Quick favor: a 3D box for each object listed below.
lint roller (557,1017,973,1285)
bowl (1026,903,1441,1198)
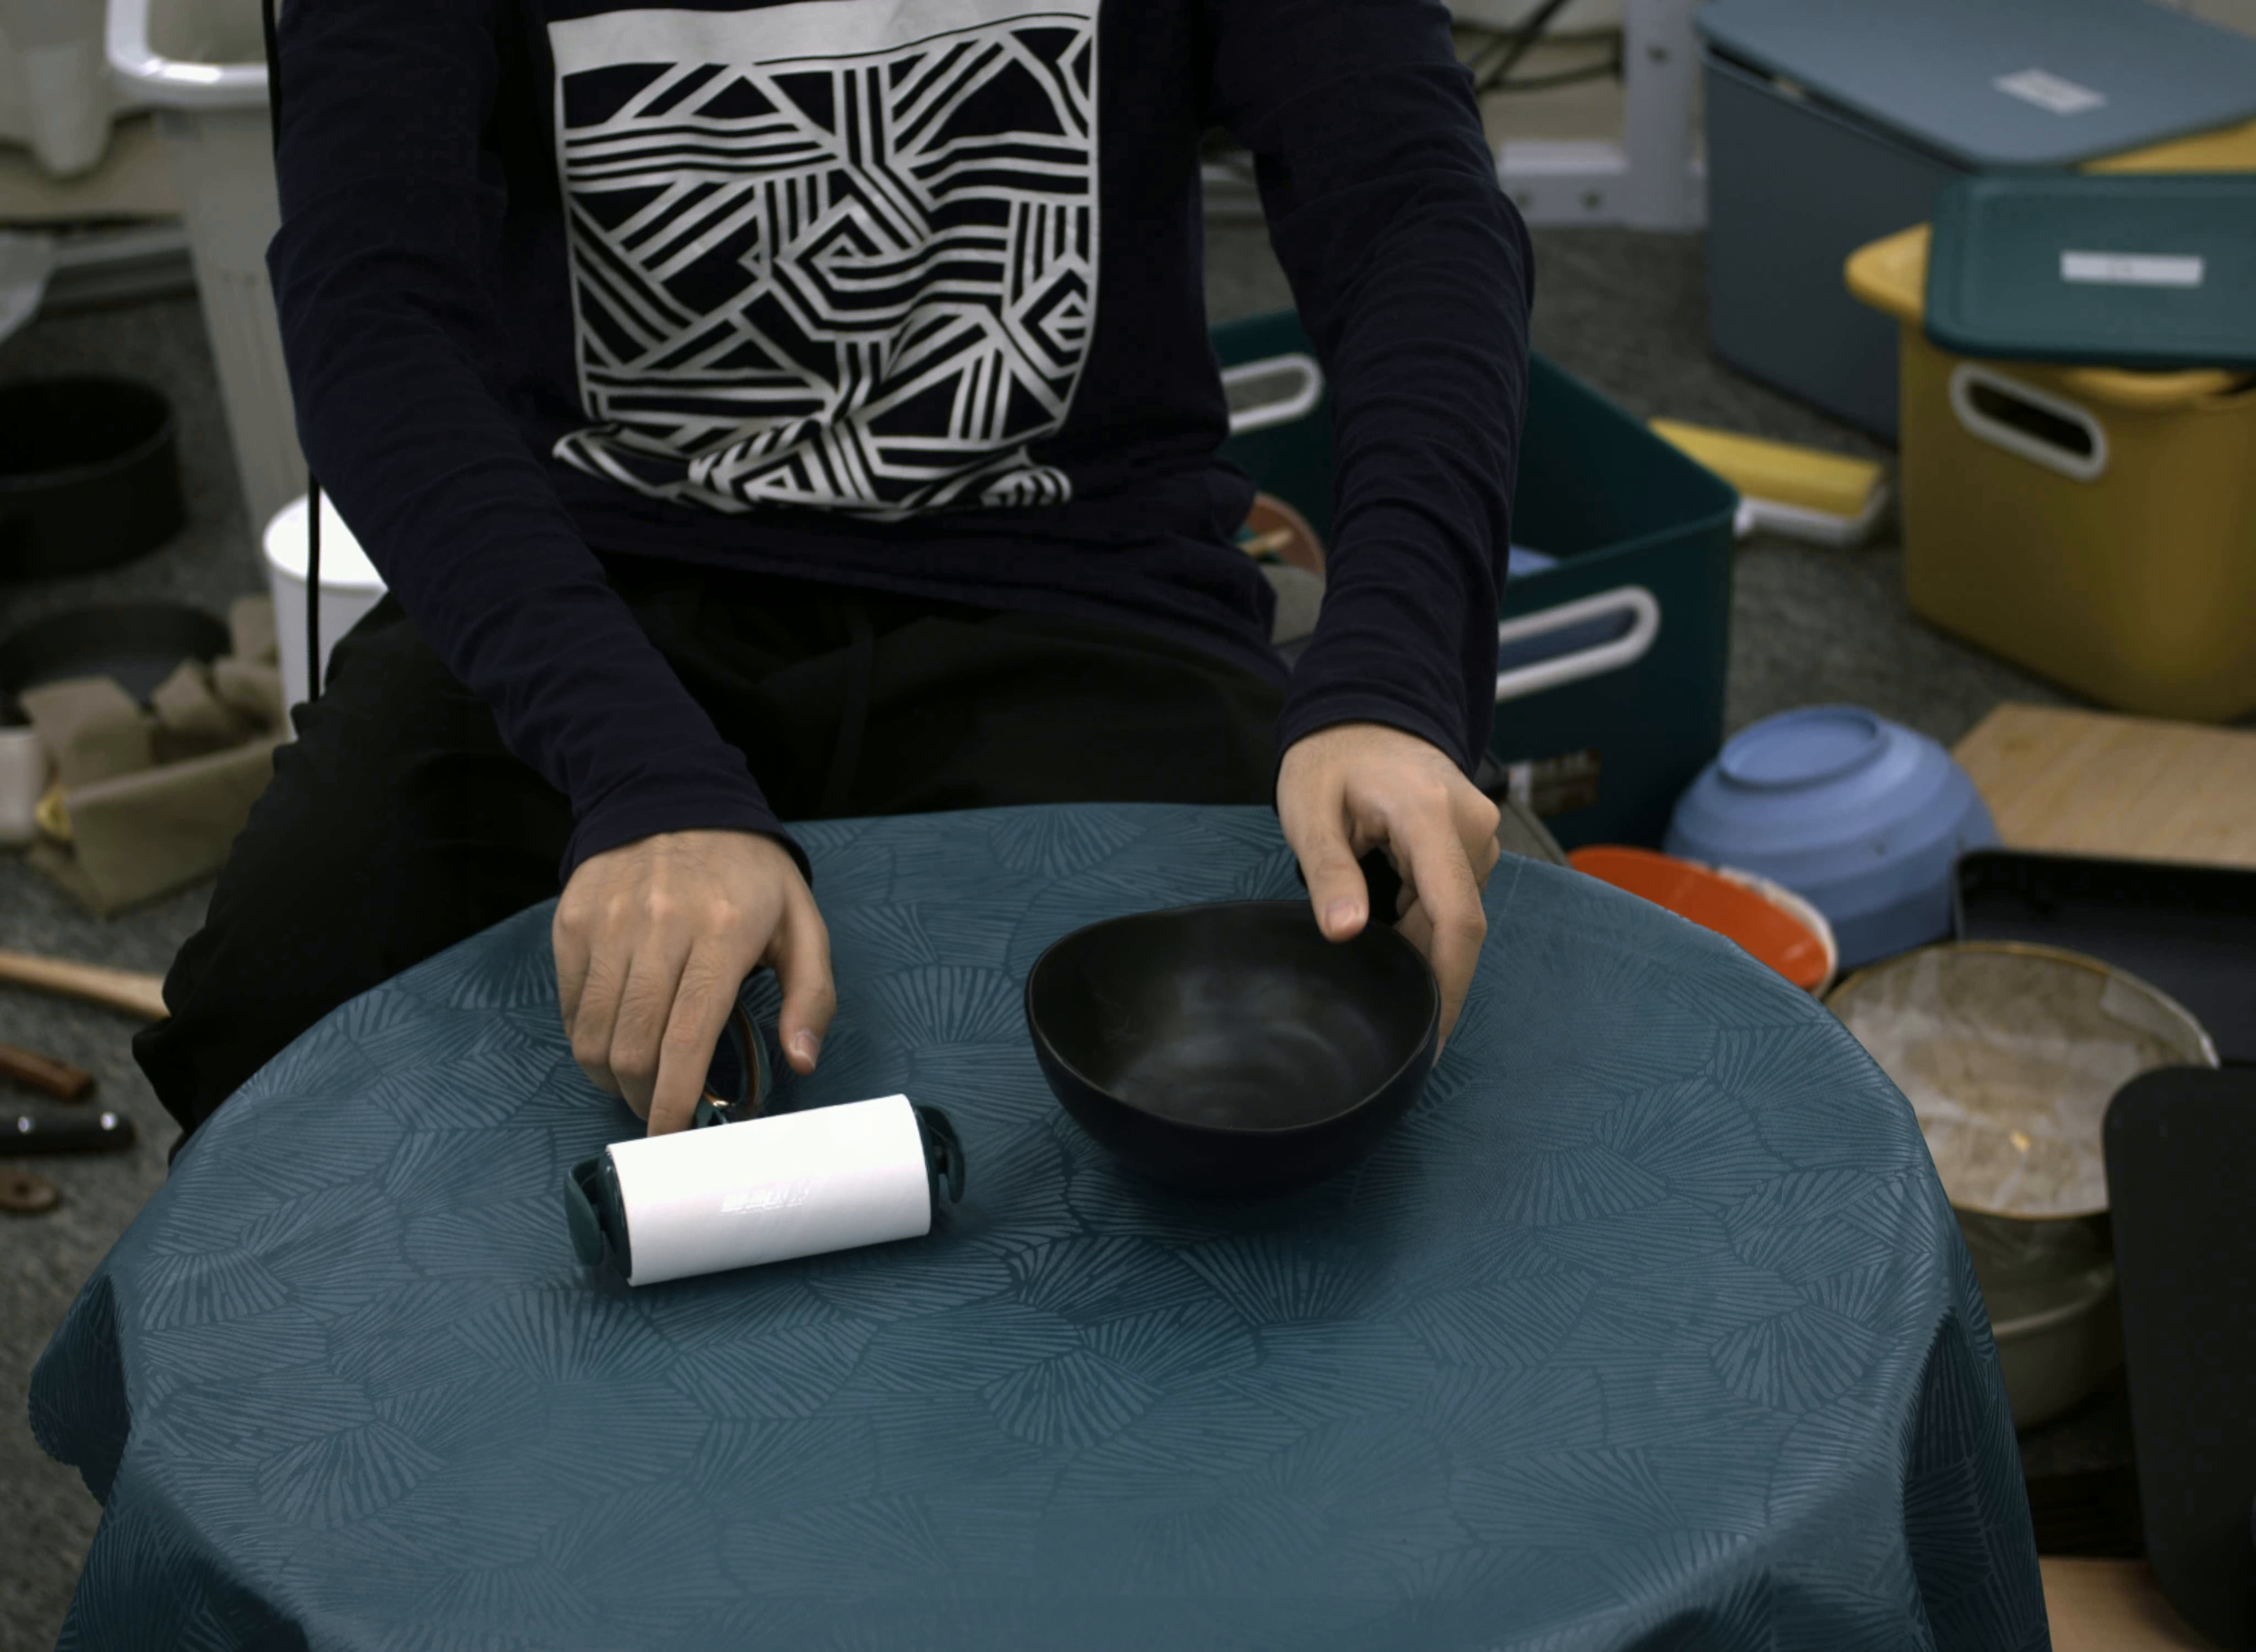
[{"bbox_3d":[-0.134,0.089,1.885,0.134,0.048,0.182,-9,27,-12],"label":"lint roller"},{"bbox_3d":[0.035,0.080,1.868,0.137,0.066,0.172,-7,26,-8],"label":"bowl"}]
